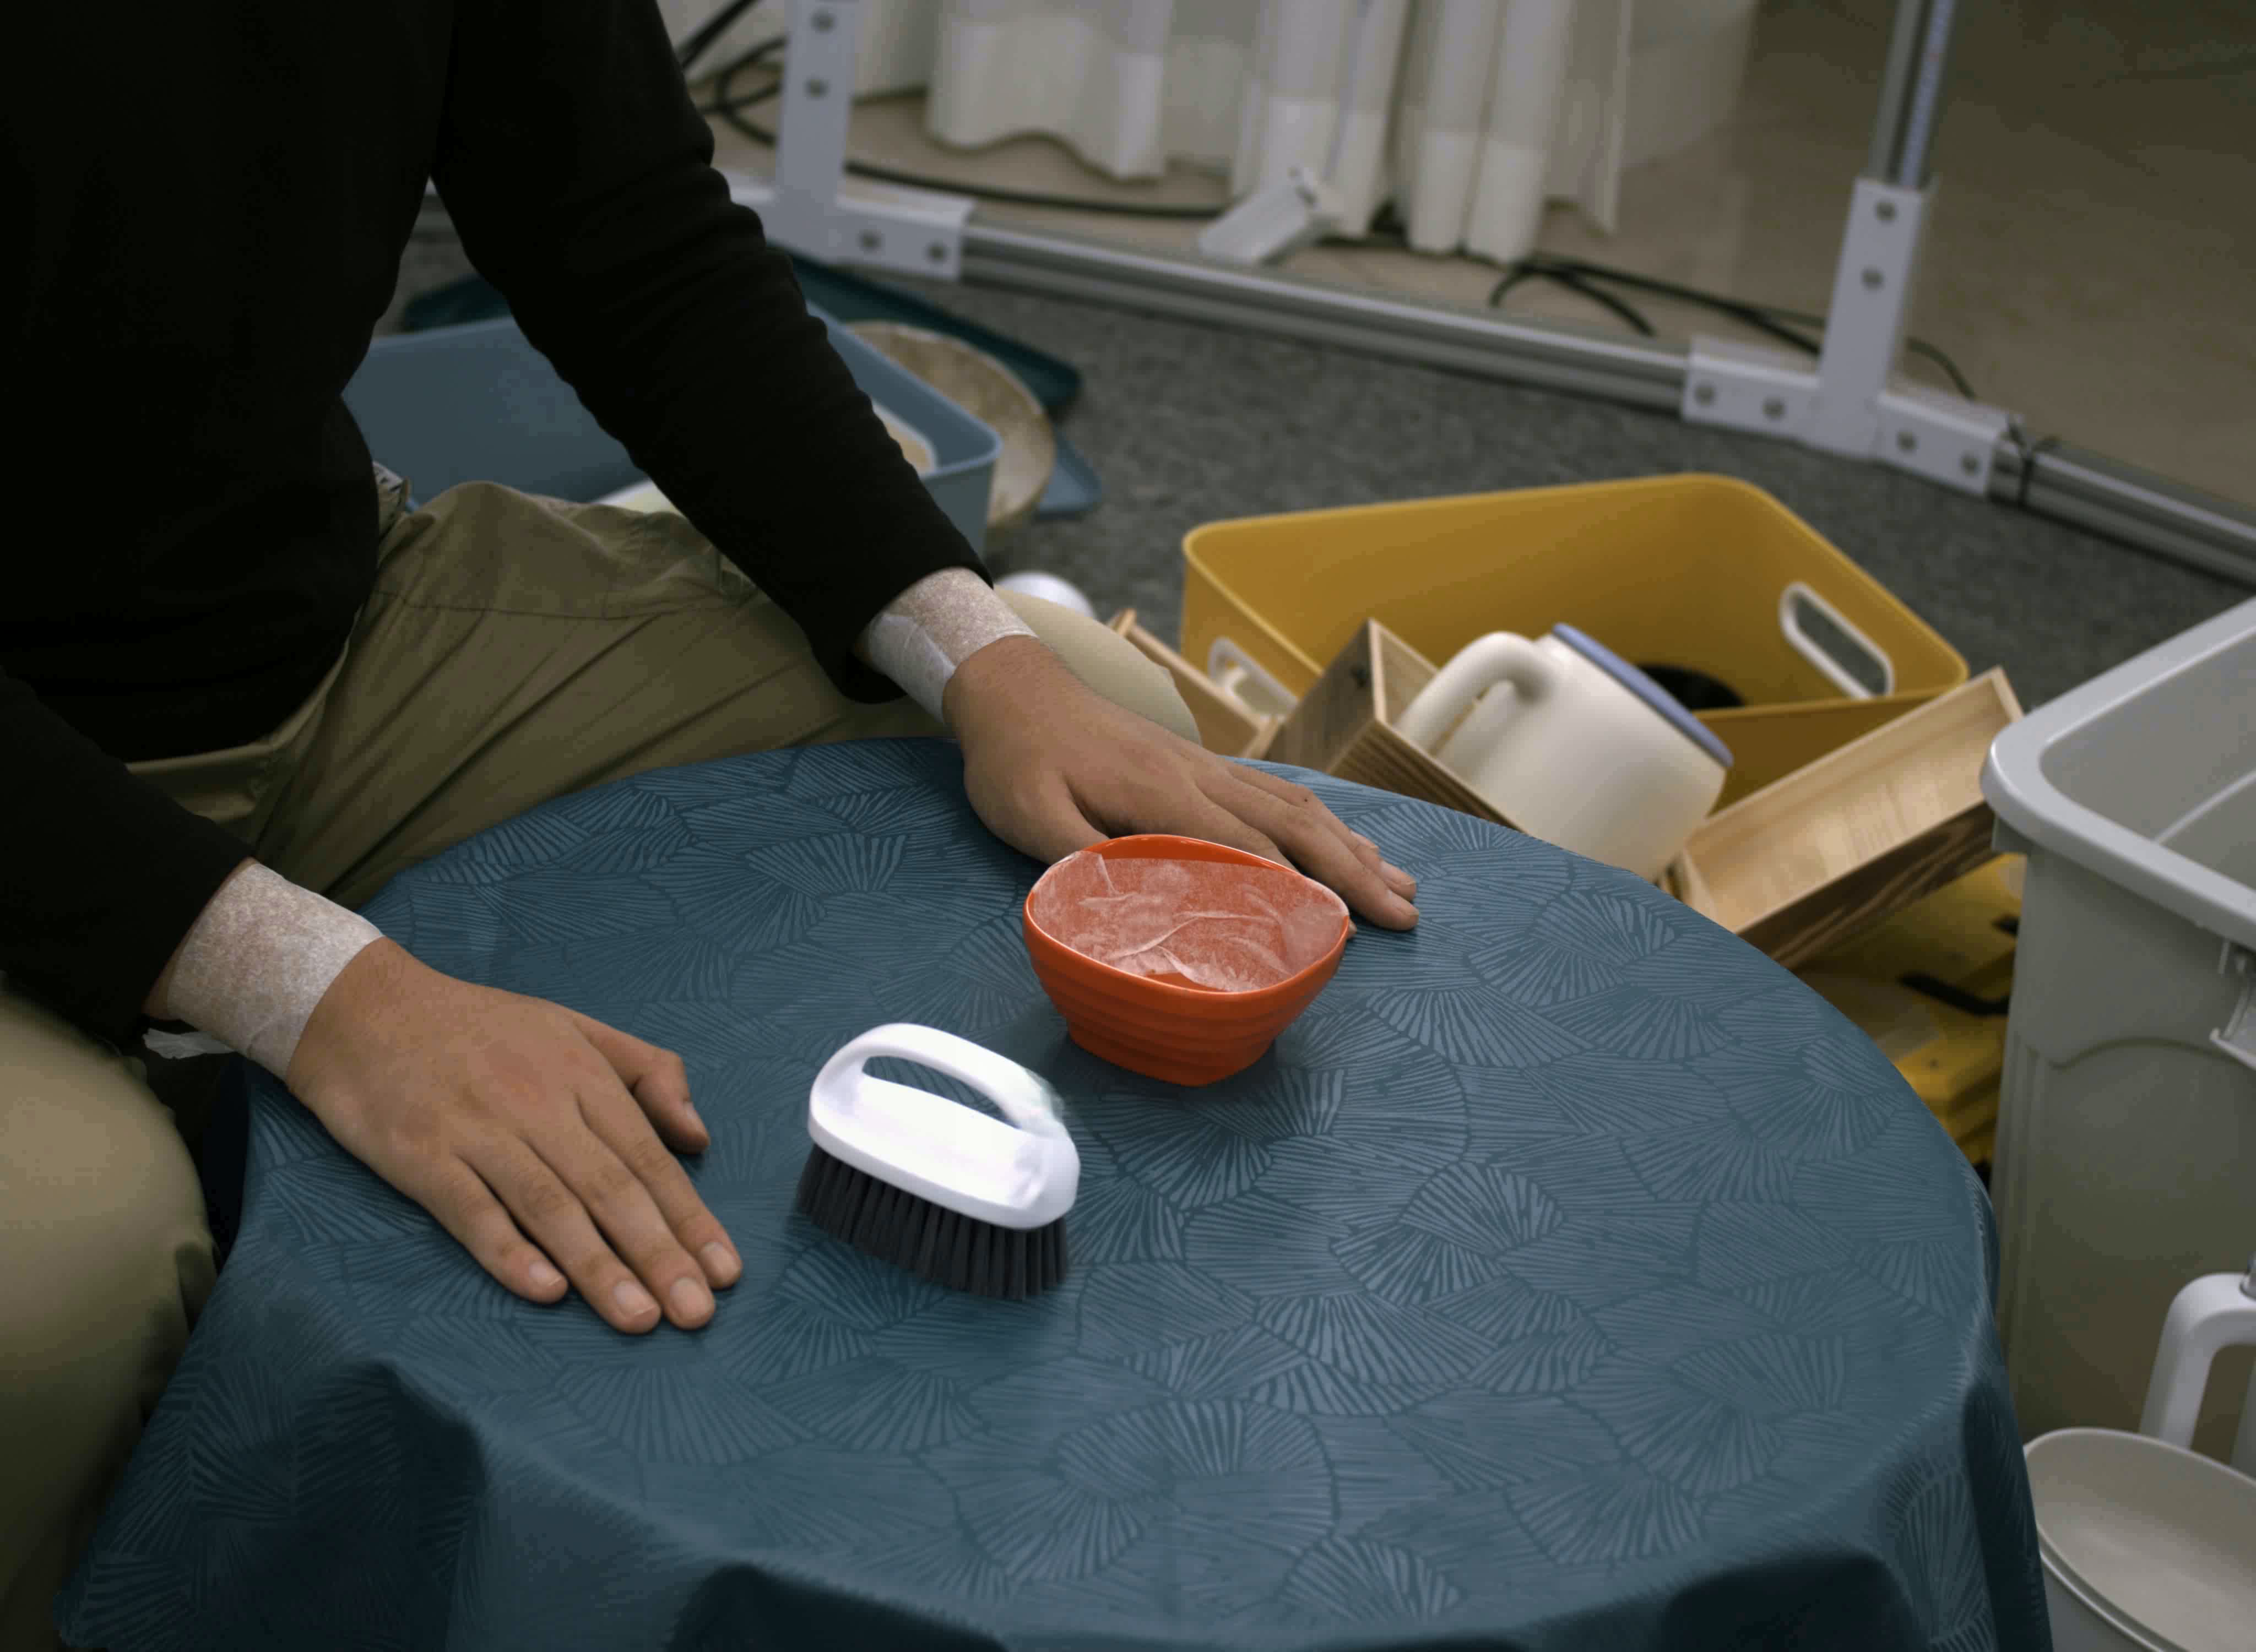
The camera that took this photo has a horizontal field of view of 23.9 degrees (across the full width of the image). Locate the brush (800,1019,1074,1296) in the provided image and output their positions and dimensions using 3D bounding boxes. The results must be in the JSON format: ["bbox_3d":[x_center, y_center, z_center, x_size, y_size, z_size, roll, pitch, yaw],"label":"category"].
[{"bbox_3d":[-0.062,0.102,1.749,0.100,0.072,0.050,23,32,29],"label":"brush"}]

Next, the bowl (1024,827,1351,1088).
[{"bbox_3d":[0.018,0.051,1.891,0.118,0.051,0.119,6,29,-4],"label":"bowl"}]
